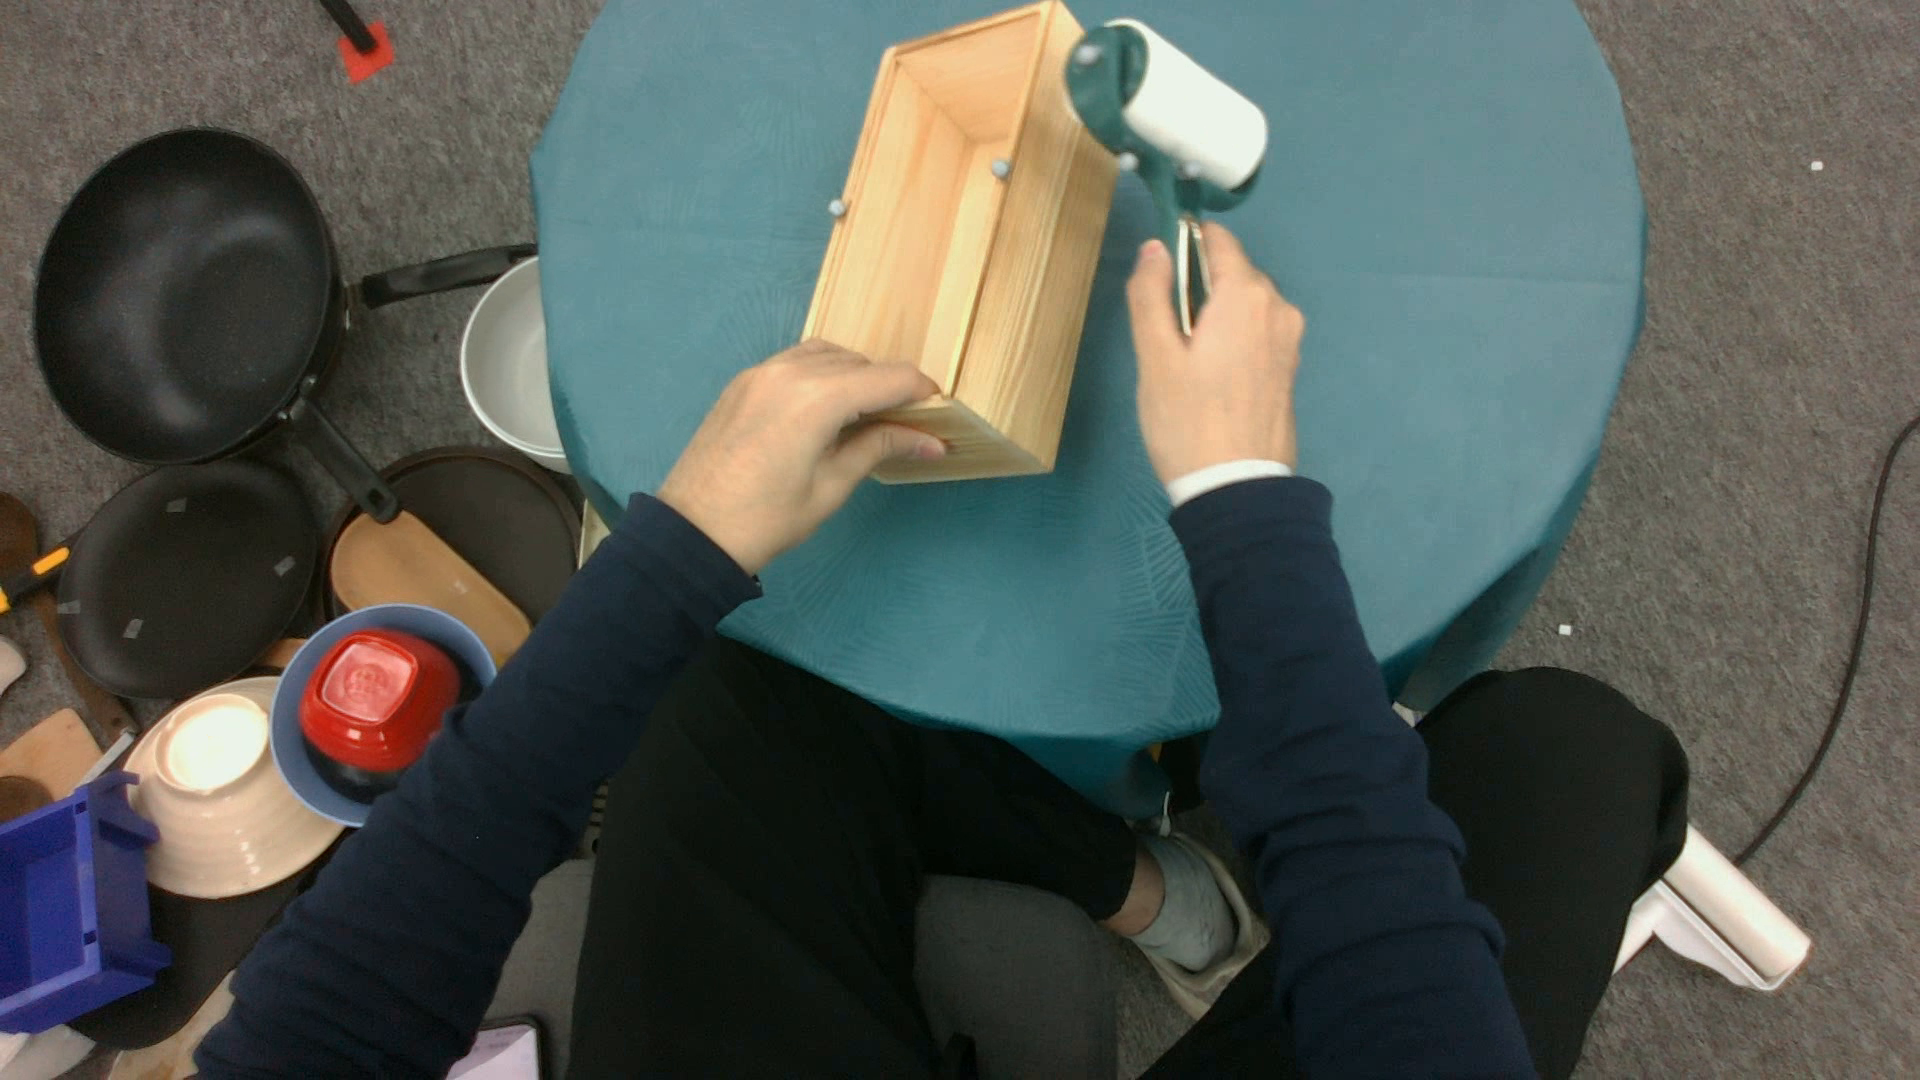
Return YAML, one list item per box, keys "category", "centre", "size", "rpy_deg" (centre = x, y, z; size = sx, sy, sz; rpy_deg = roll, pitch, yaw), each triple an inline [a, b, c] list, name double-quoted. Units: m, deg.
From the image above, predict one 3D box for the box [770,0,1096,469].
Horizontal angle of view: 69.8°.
- category: "box"
  centre: [-0.006, -0.150, 0.671]
  size: [0.107, 0.080, 0.212]
  rpy_deg: [-4, 67, 37]

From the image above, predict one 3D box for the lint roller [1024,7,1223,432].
- category: "lint roller"
  centre: [0.090, -0.140, 0.626]
  size: [0.048, 0.134, 0.180]
  rpy_deg: [-25, 68, 35]
